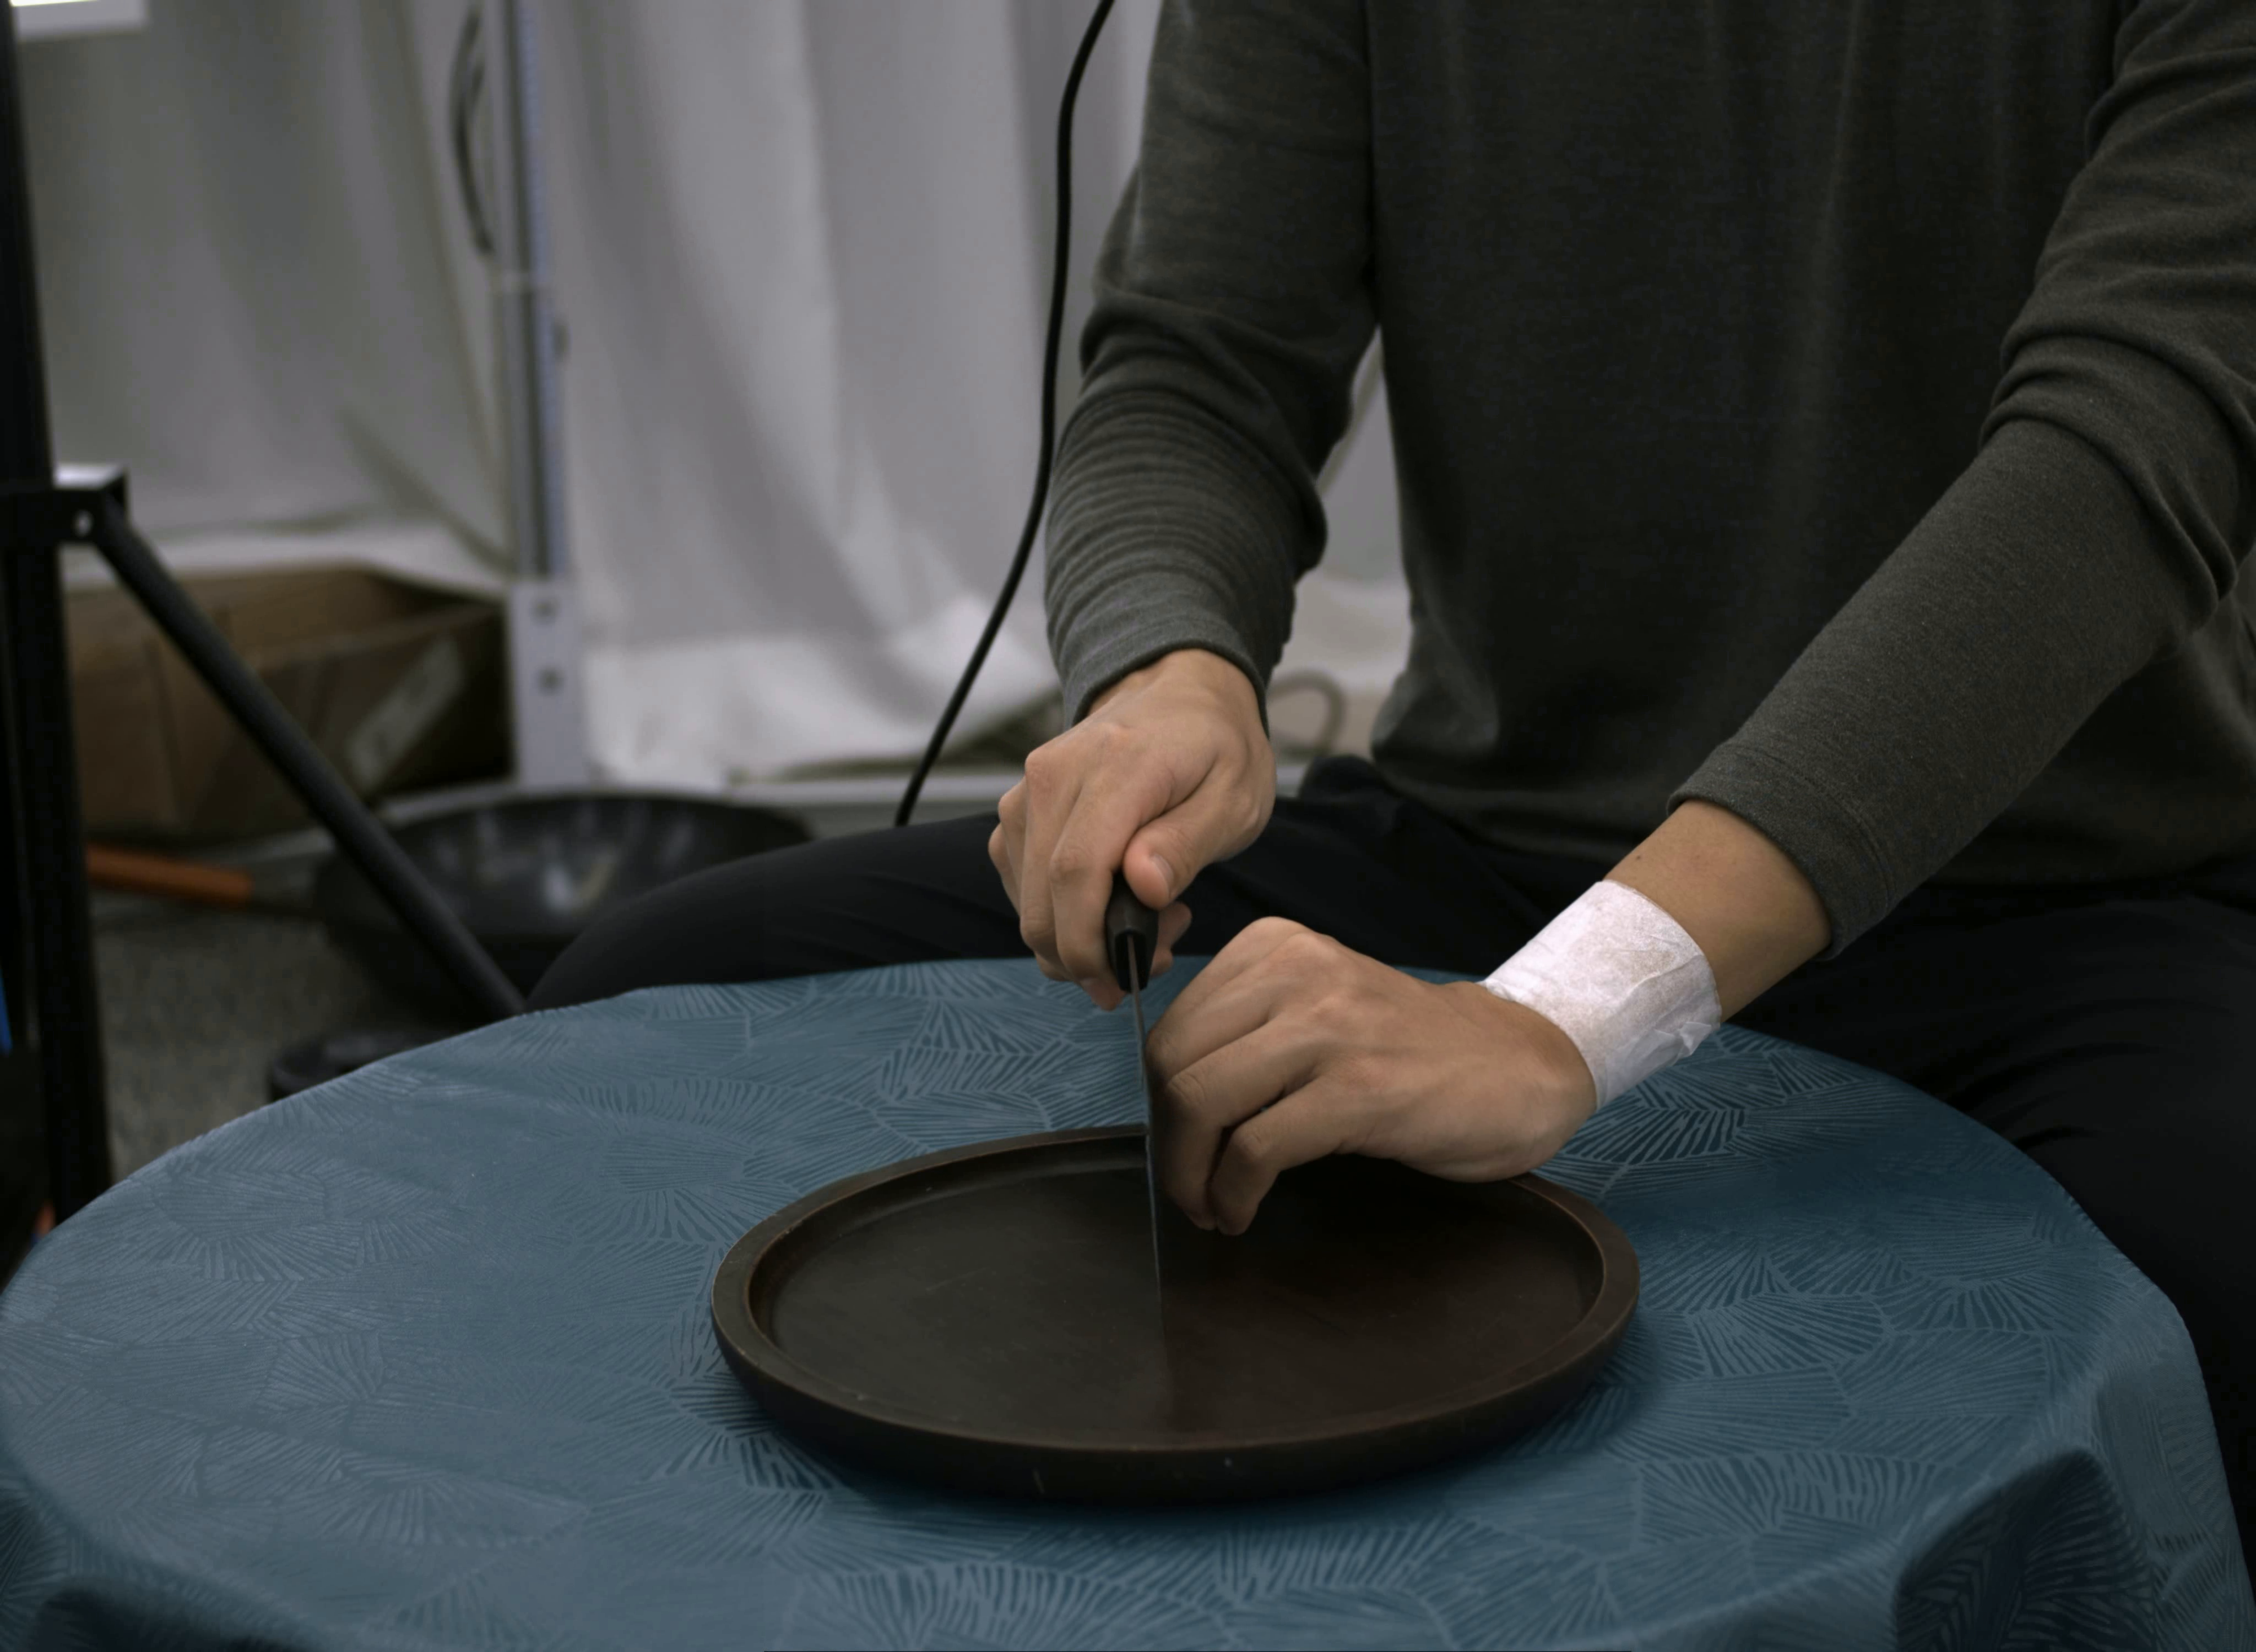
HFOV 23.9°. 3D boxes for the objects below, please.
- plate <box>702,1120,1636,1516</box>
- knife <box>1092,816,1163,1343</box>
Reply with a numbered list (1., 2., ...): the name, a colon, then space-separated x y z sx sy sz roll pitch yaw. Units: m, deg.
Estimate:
1. plate: 0.012 0.131 1.440 0.253 0.029 0.256 -4 15 0
2. knife: 0.004 0.063 1.505 0.021 0.081 0.304 -2 20 -1
